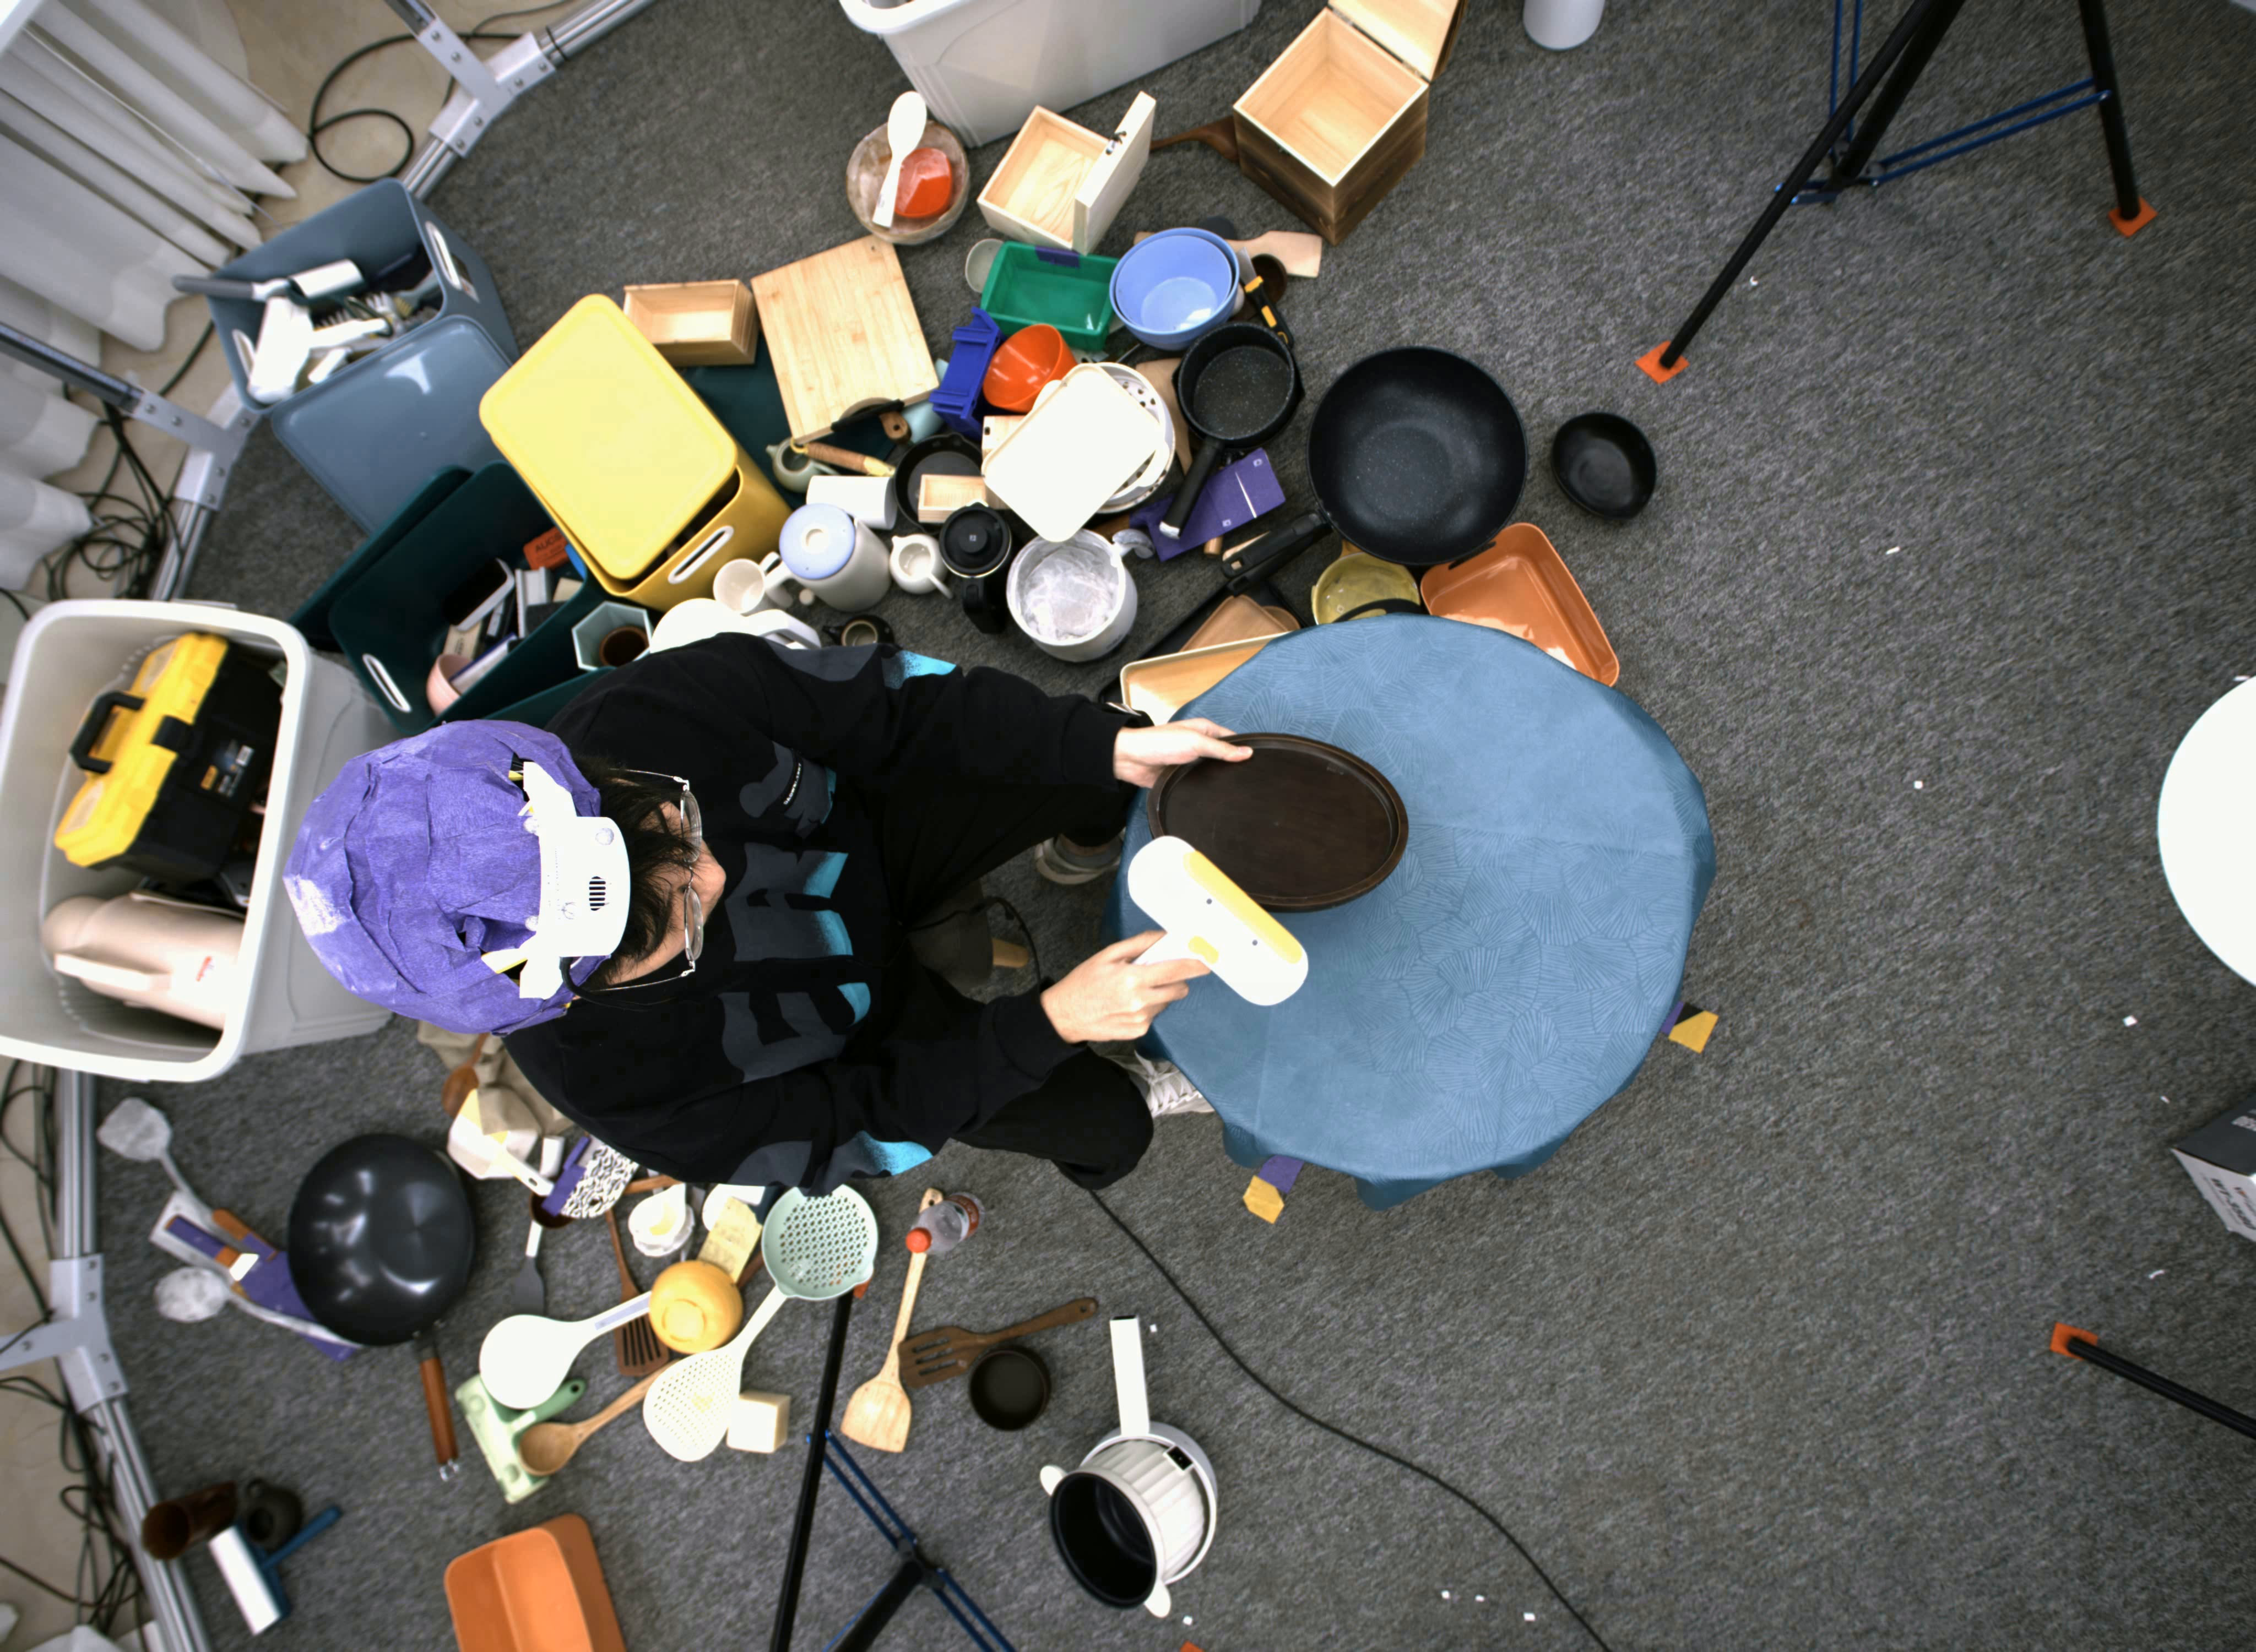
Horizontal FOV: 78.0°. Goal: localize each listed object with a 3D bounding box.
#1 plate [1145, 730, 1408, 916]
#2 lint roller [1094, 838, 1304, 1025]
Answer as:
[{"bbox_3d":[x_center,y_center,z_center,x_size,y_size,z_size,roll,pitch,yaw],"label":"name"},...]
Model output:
[{"bbox_3d":[0.143,-0.007,1.334,0.255,0.030,0.248,-1,45,0],"label":"plate"},{"bbox_3d":[0.039,0.118,1.268,0.194,0.072,0.197,35,134,-17],"label":"lint roller"}]
